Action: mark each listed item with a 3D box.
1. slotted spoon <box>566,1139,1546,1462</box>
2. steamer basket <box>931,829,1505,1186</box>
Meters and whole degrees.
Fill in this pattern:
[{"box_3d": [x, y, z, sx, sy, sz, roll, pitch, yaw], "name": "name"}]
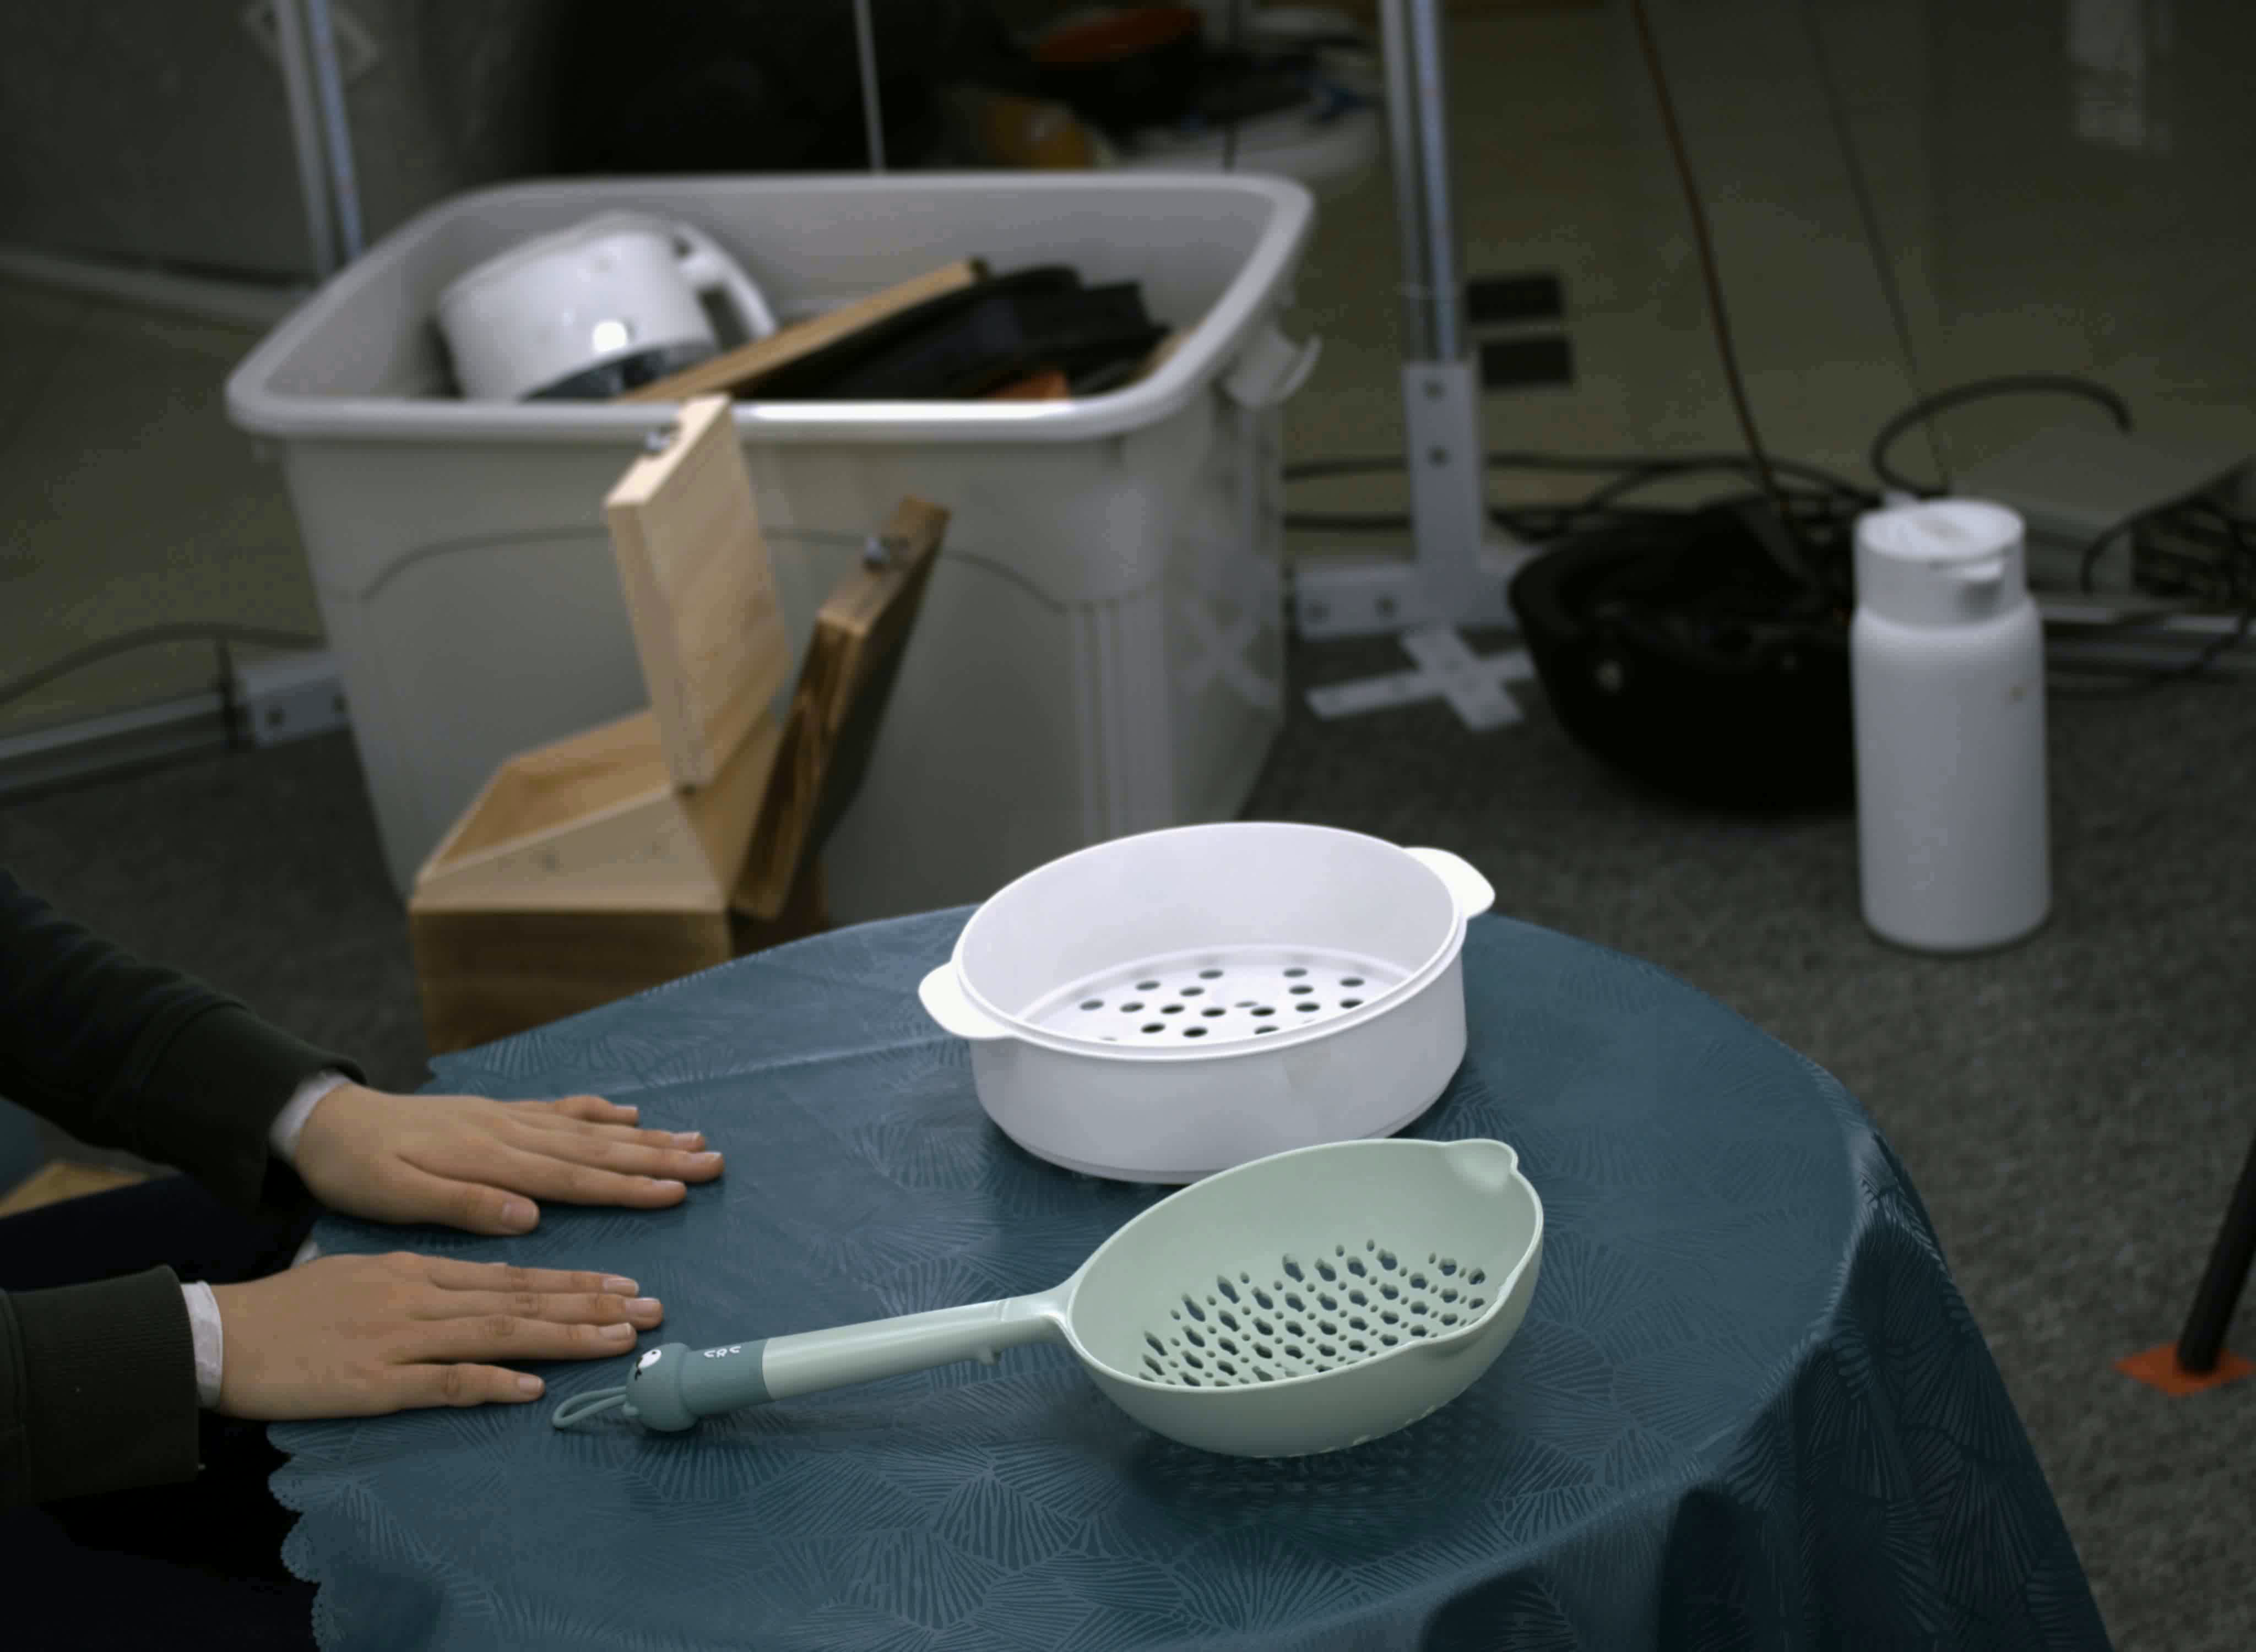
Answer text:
[{"box_3d": [-0.030, 0.179, 1.998, 0.358, 0.076, 0.167, -2, 25, 9], "name": "slotted spoon"}, {"box_3d": [0.039, 0.072, 2.212, 0.230, 0.070, 0.199, -15, 25, -17], "name": "steamer basket"}]
